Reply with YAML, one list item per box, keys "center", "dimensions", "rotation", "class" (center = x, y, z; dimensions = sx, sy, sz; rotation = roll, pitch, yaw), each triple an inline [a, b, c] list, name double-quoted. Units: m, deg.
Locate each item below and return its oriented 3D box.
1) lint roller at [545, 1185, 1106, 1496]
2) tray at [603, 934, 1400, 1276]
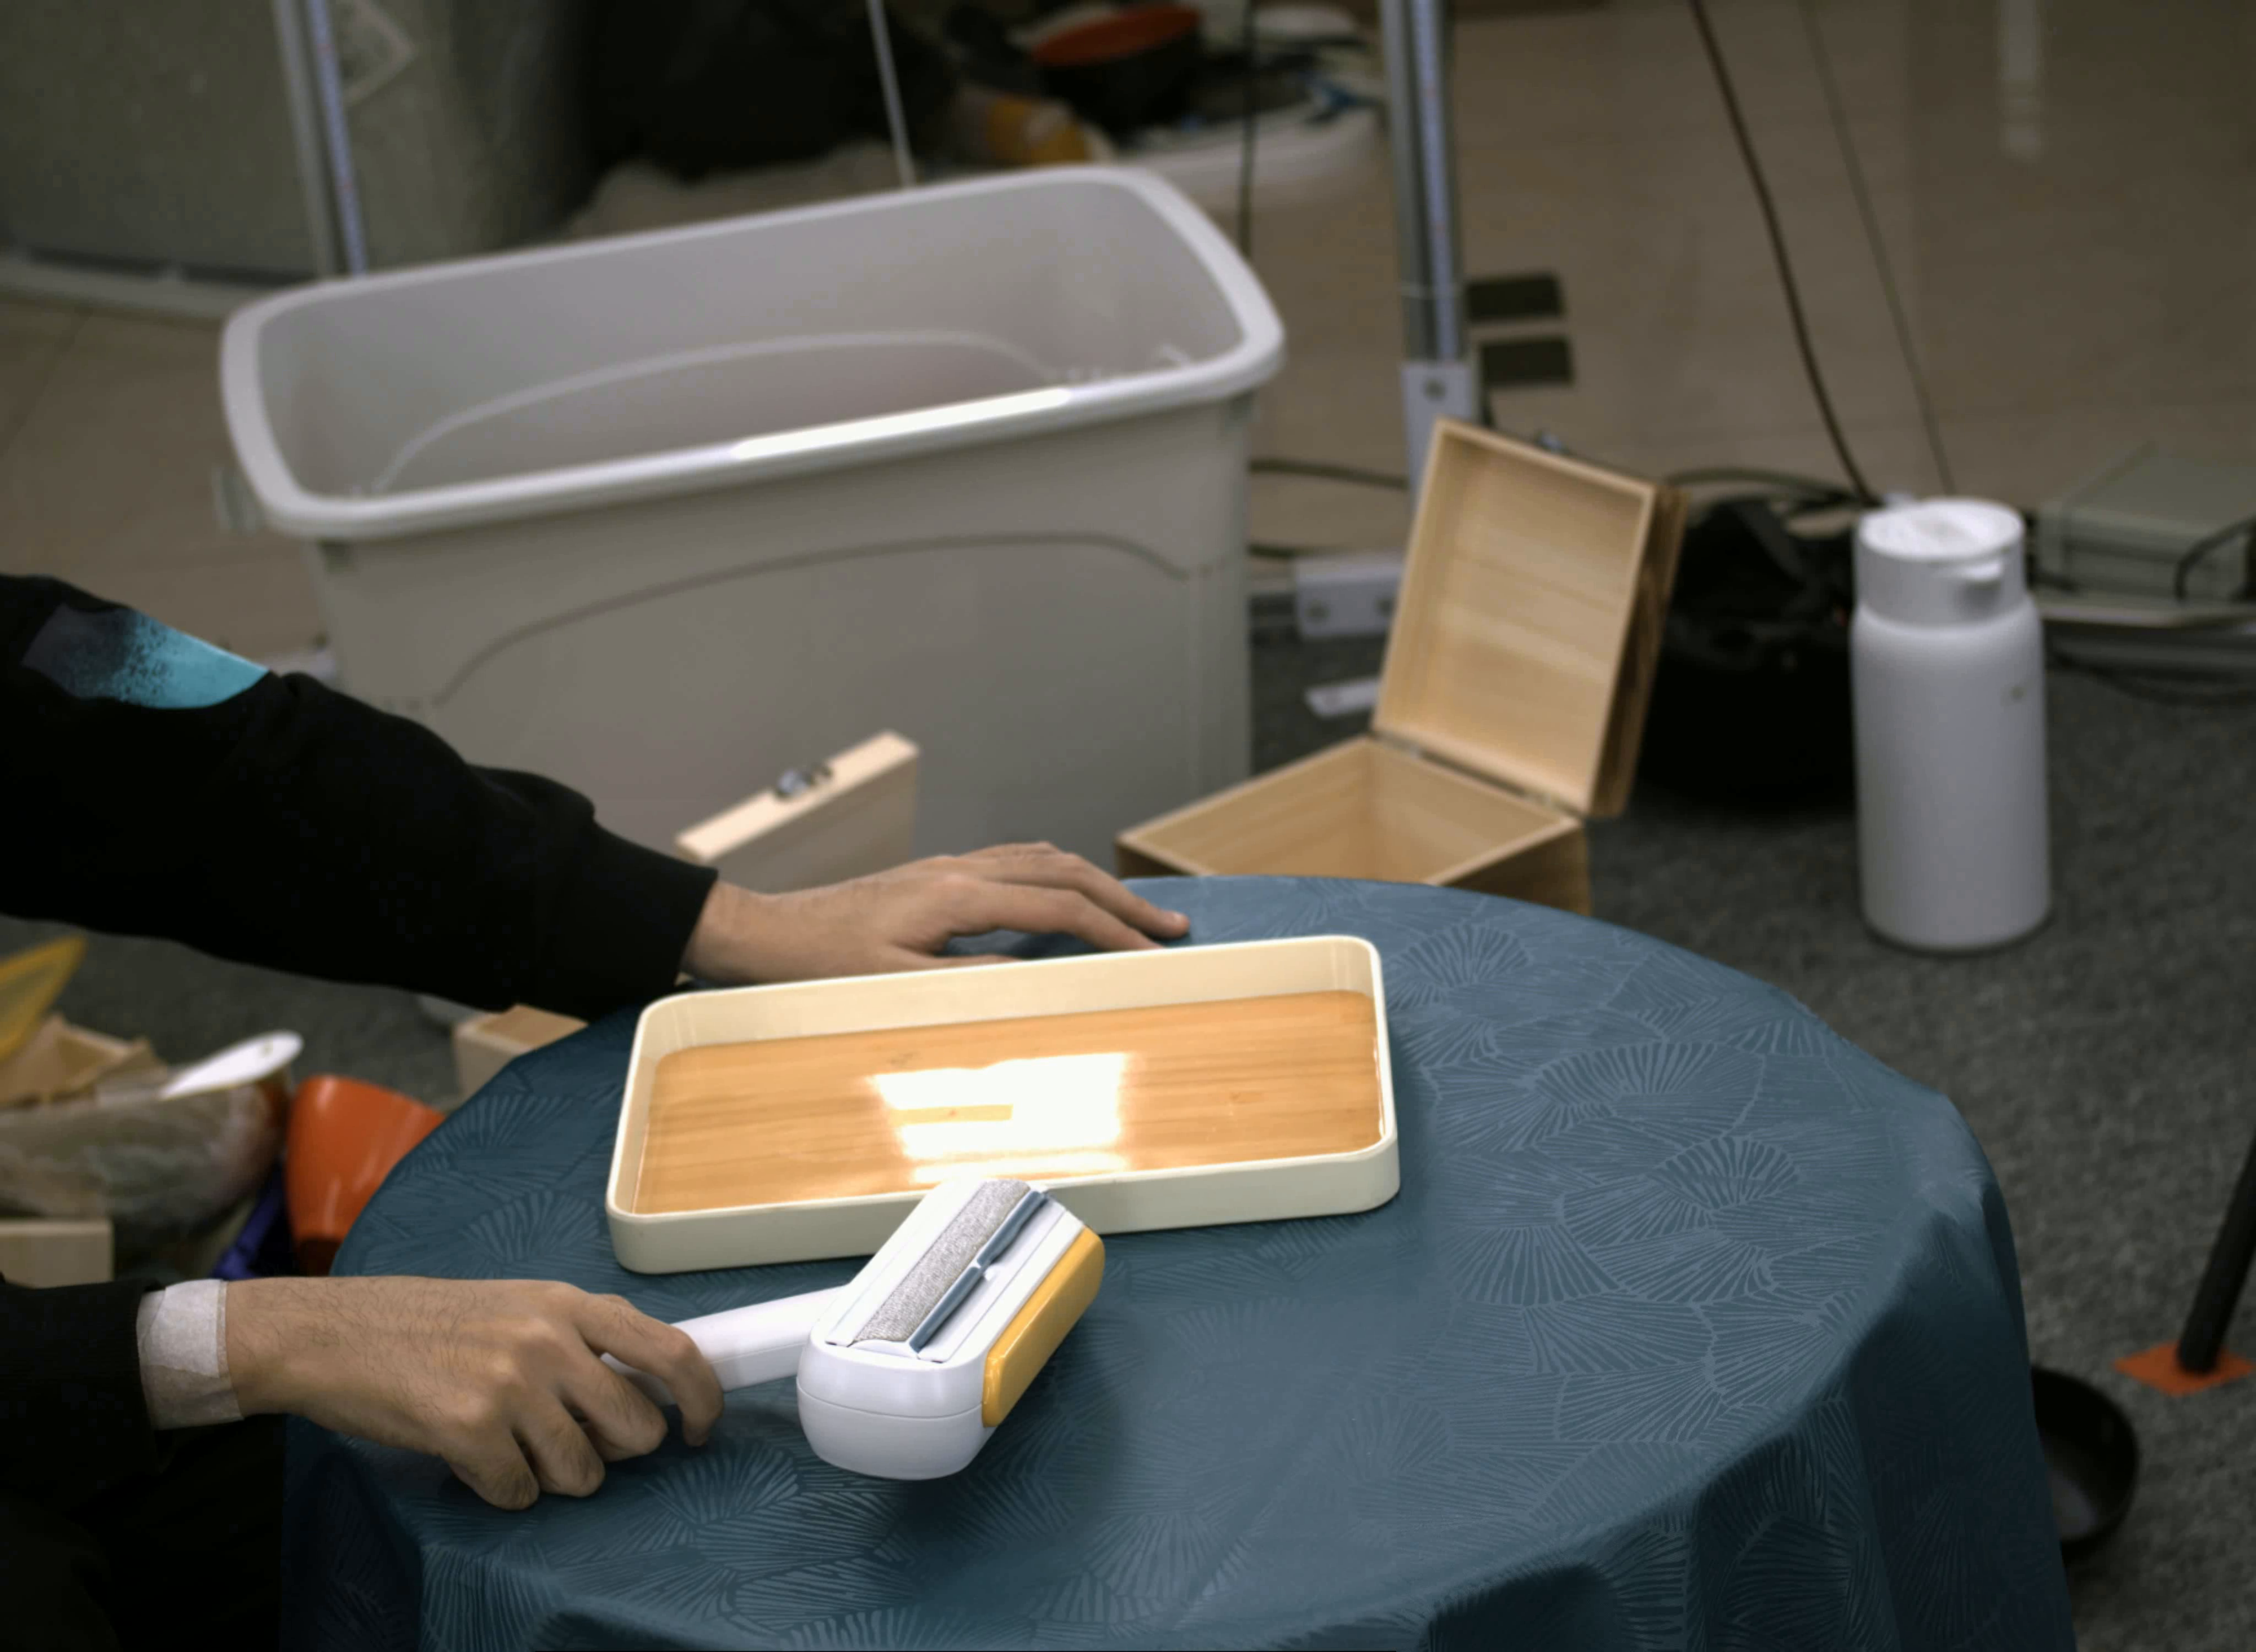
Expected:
- center: [-0.119, 0.182, 2.000]
  dimensions: [0.192, 0.075, 0.190]
  rotation: [1, 21, 19]
  class: "lint roller"
- center: [-0.047, 0.107, 2.193]
  dimensions: [0.300, 0.028, 0.188]
  rotation: [-5, 26, 3]
  class: "tray"
